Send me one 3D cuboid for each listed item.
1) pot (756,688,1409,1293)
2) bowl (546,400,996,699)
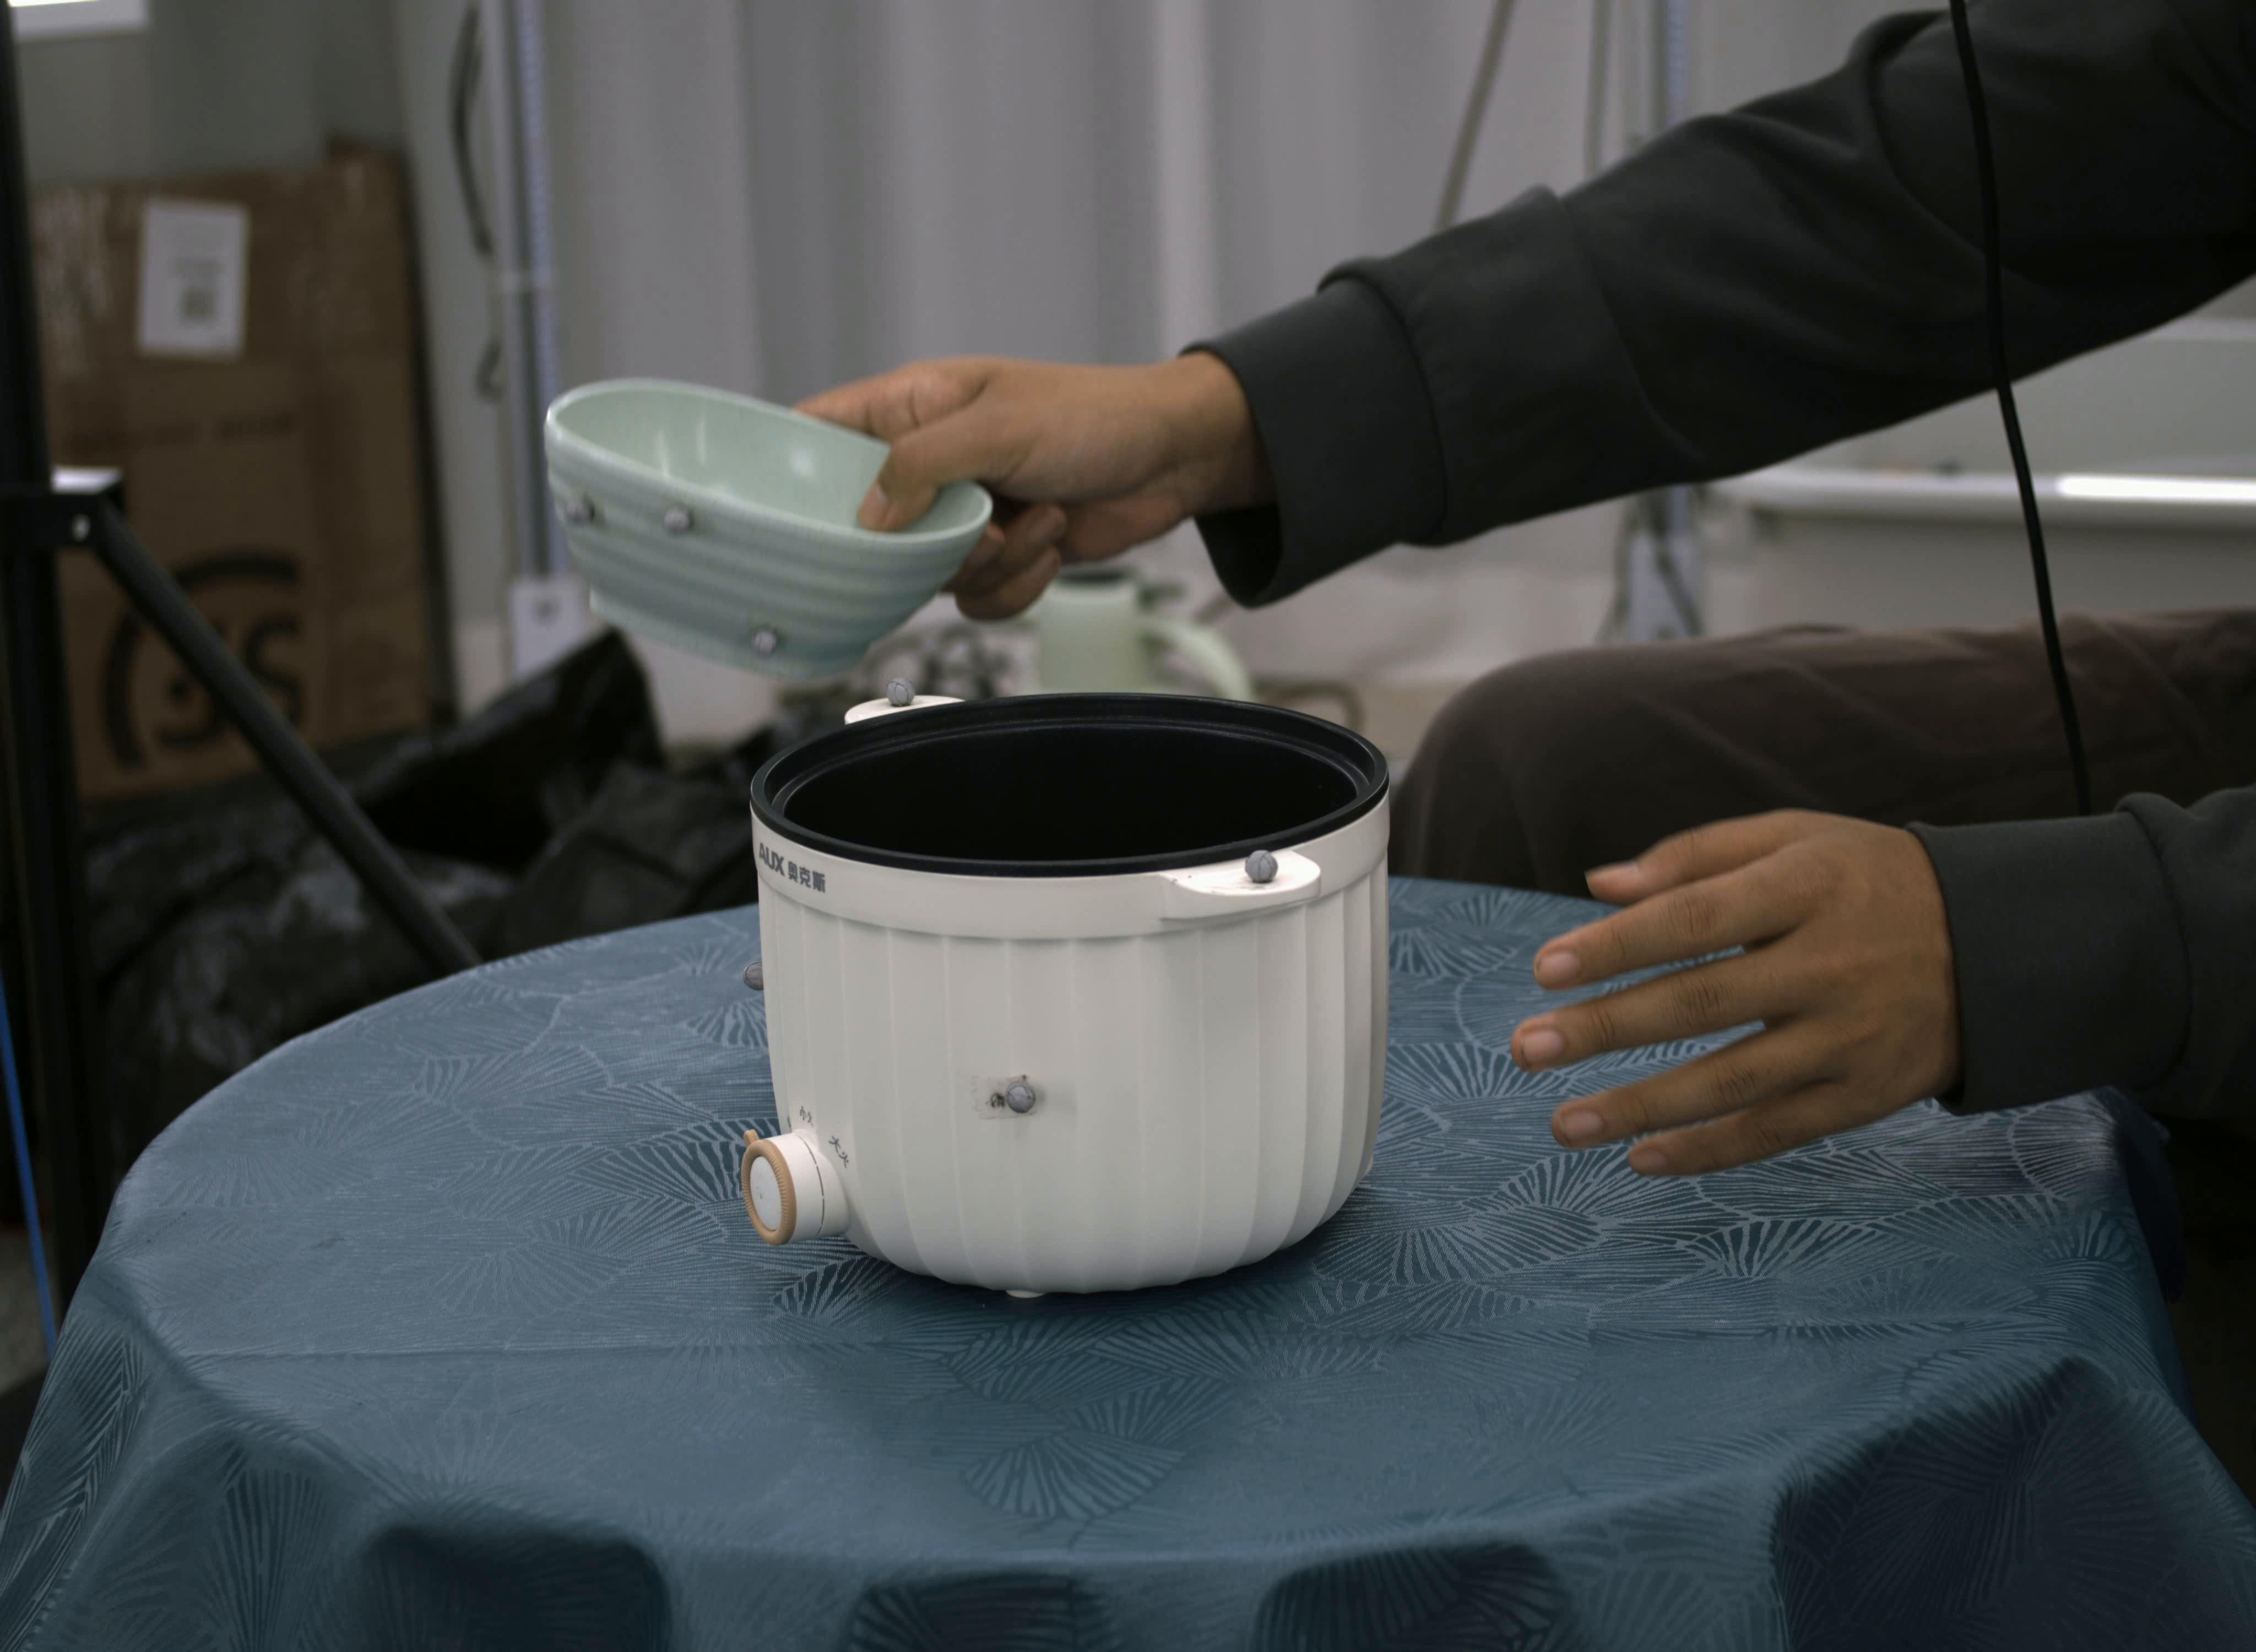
[{"bbox_3d":[-0.016,0.049,1.511,0.186,0.143,0.245,-7,14,-28],"label":"pot"},{"bbox_3d":[-0.118,-0.084,1.690,0.150,0.059,0.152,12,17,-5],"label":"bowl"}]
